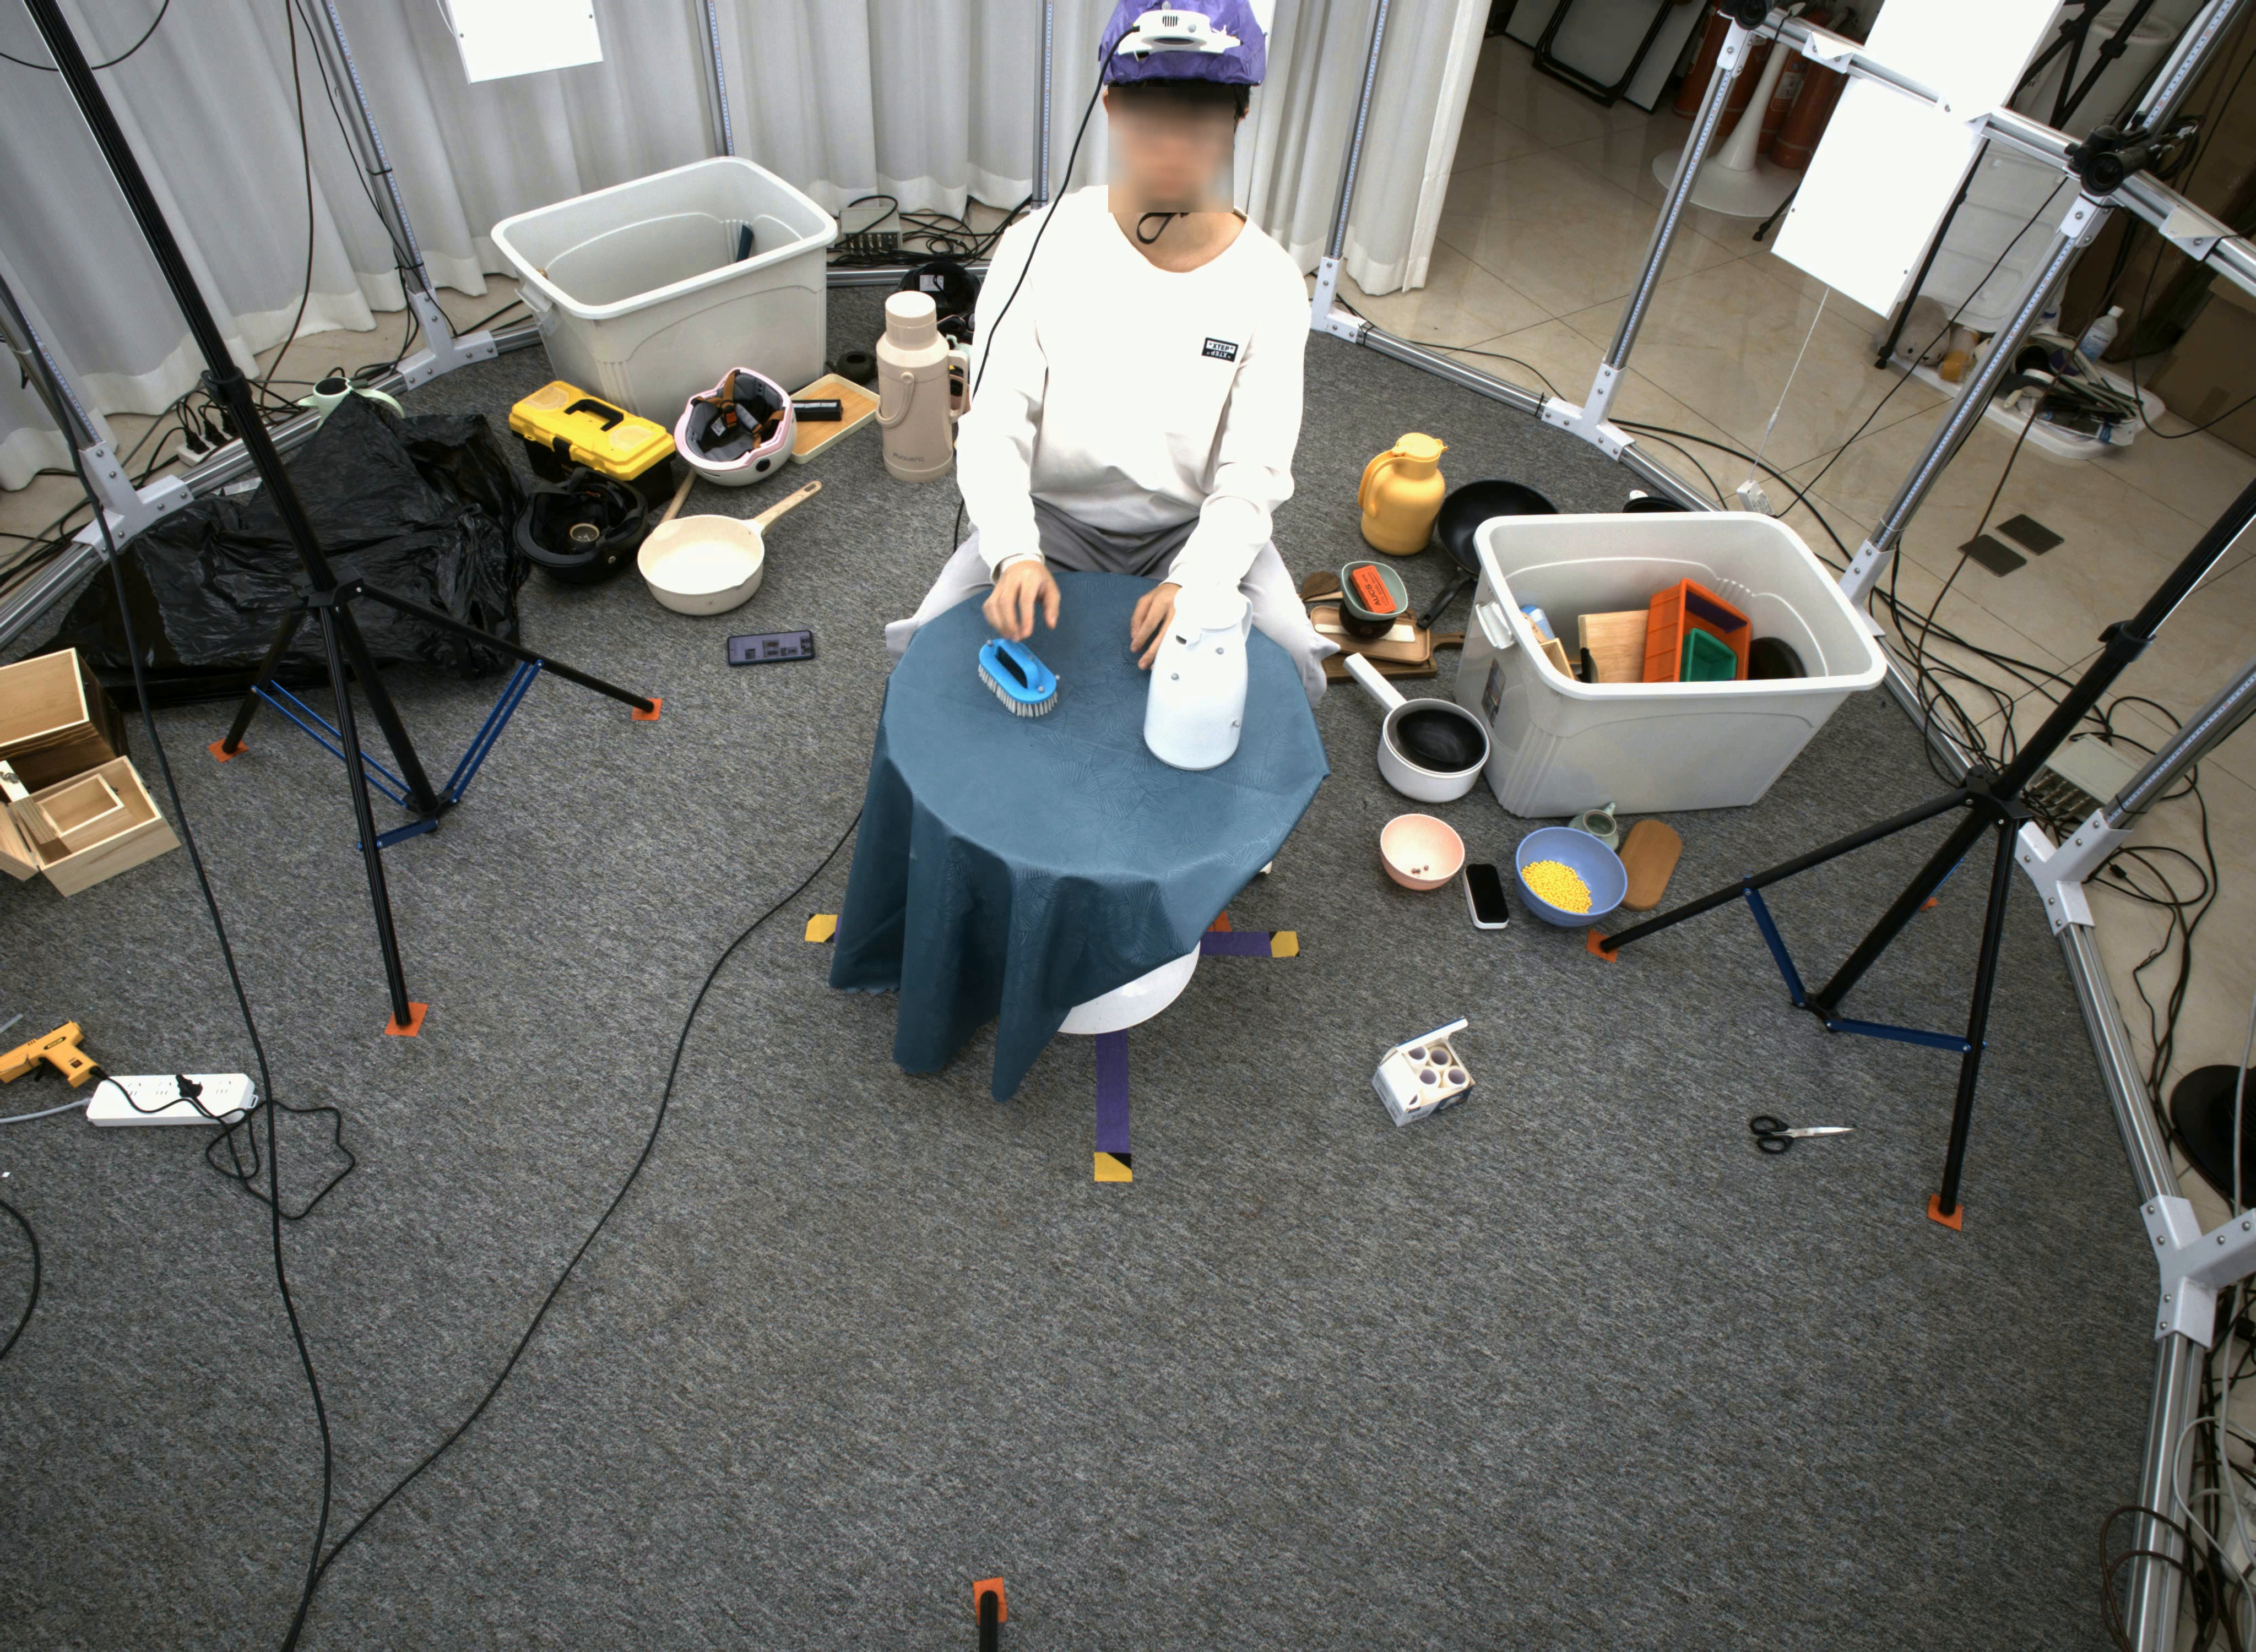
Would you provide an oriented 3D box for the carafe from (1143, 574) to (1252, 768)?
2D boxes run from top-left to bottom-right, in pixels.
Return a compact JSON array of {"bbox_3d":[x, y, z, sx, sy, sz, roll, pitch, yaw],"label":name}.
[{"bbox_3d":[0.105,-0.218,1.700,0.134,0.242,0.170,30,53,20],"label":"carafe"}]

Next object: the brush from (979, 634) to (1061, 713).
[{"bbox_3d":[-0.154,-0.224,1.805,0.085,0.062,0.144,-28,56,-20],"label":"brush"}]
